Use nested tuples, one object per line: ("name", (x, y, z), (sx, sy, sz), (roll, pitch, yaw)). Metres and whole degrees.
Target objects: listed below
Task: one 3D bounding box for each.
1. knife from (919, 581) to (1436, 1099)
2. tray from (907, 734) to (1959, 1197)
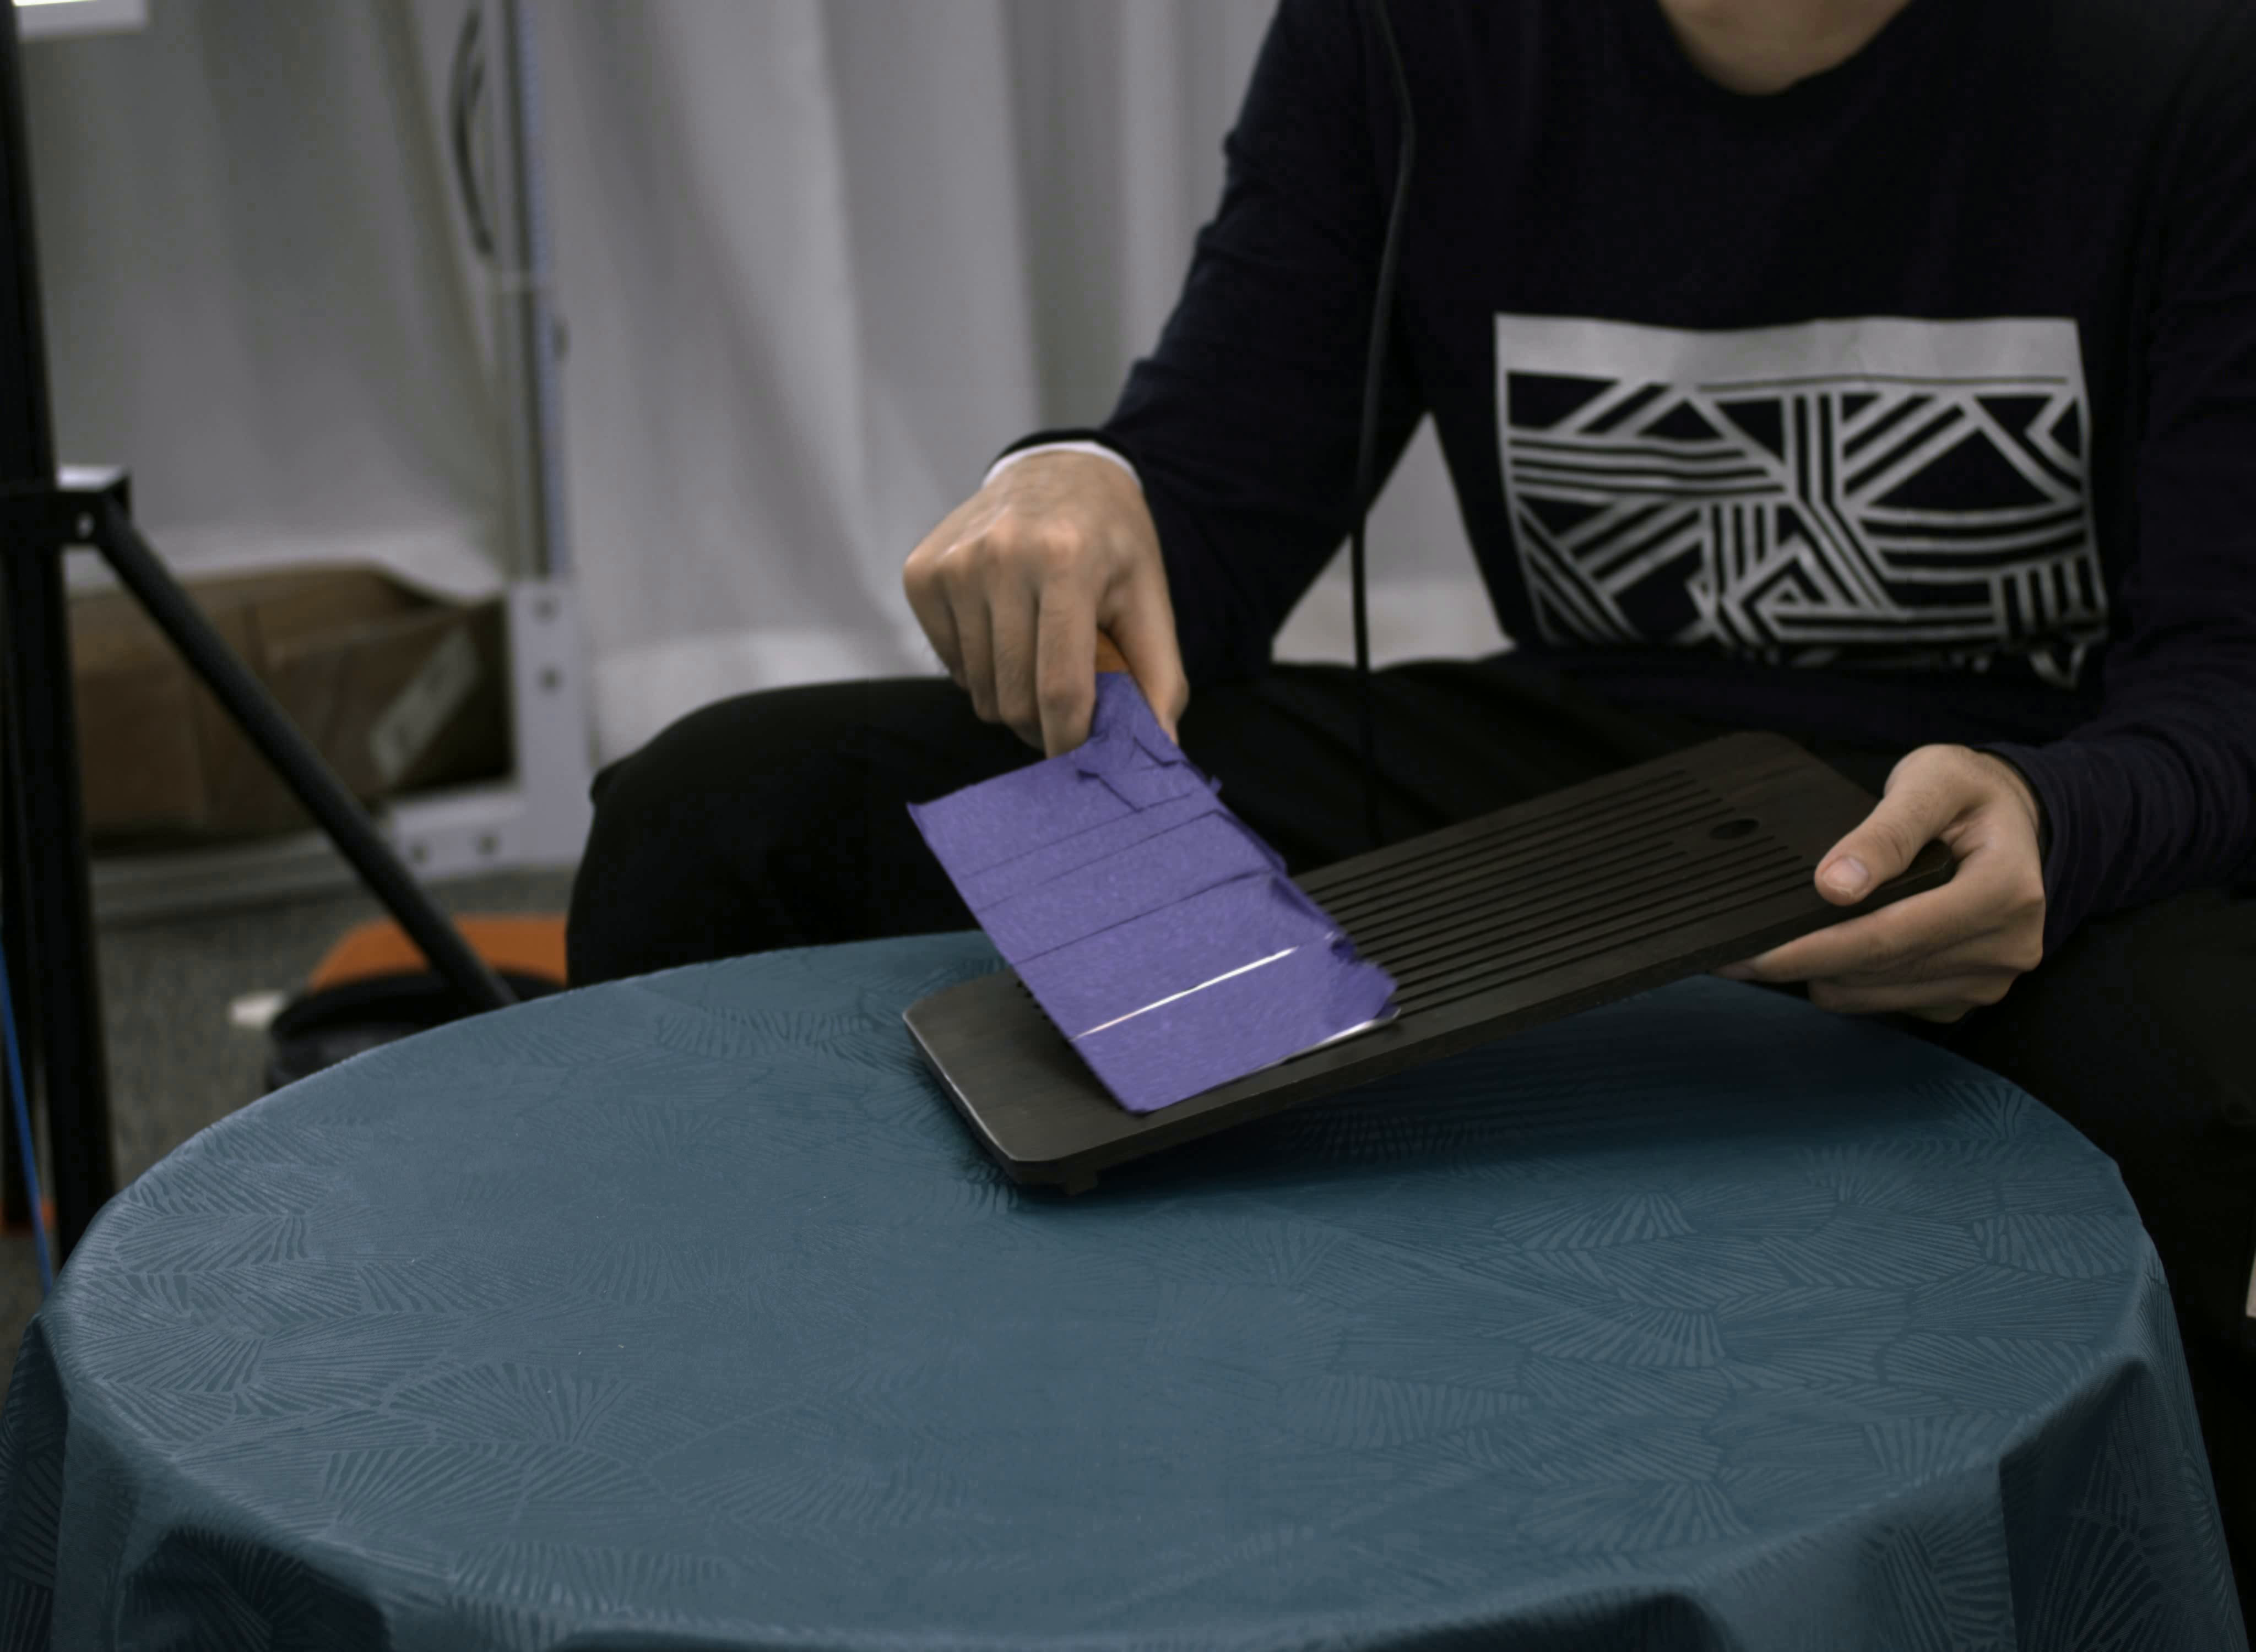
("knife", (-0.011, 0.000, 1.700), (0.102, 0.032, 0.321), (-22, 29, -13))
("tray", (0.091, 0.042, 1.645), (0.303, 0.018, 0.172), (-17, 18, -9))
